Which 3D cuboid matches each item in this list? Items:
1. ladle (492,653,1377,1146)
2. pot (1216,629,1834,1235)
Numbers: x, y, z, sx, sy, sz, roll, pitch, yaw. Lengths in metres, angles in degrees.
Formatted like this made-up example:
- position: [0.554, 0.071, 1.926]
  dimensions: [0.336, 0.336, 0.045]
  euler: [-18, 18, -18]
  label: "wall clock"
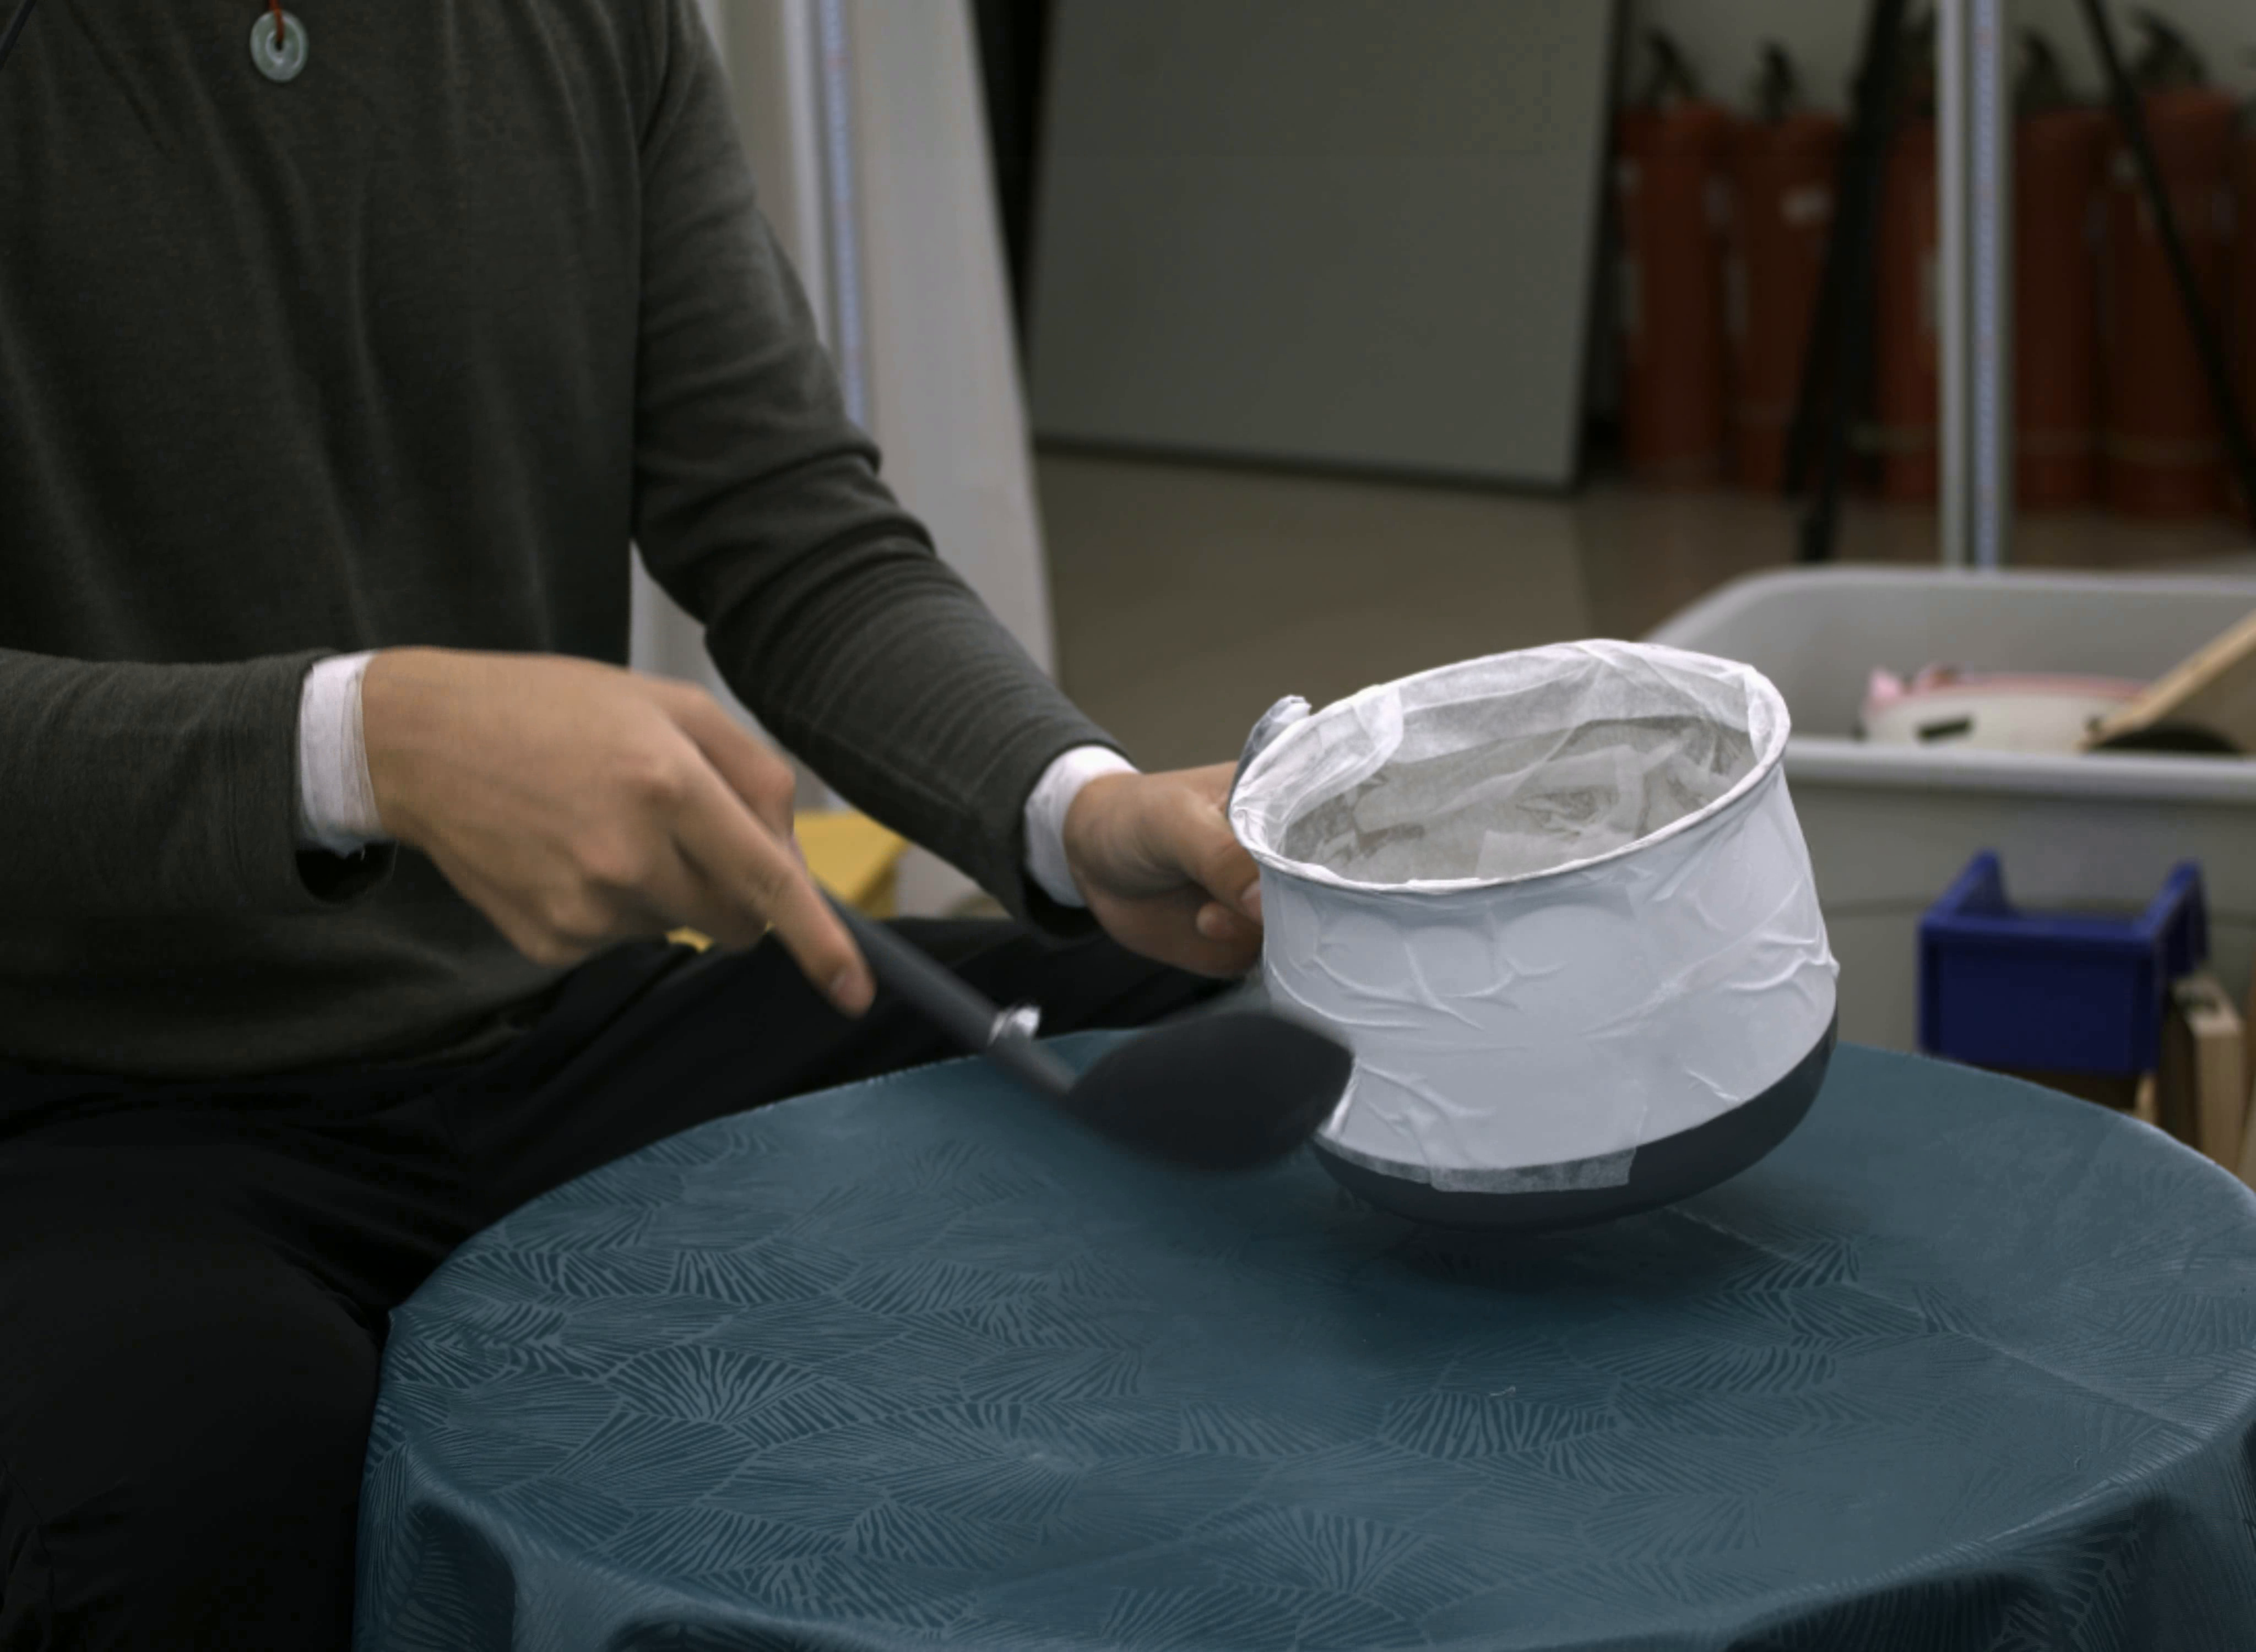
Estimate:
- position: [-0.063, 0.003, 1.545]
  dimensions: [0.317, 0.064, 0.085]
  euler: [32, -4, 32]
  label: "ladle"
- position: [0.110, 0.029, 1.699]
  dimensions: [0.175, 0.137, 0.236]
  euler: [-29, 27, -35]
  label: "pot"
